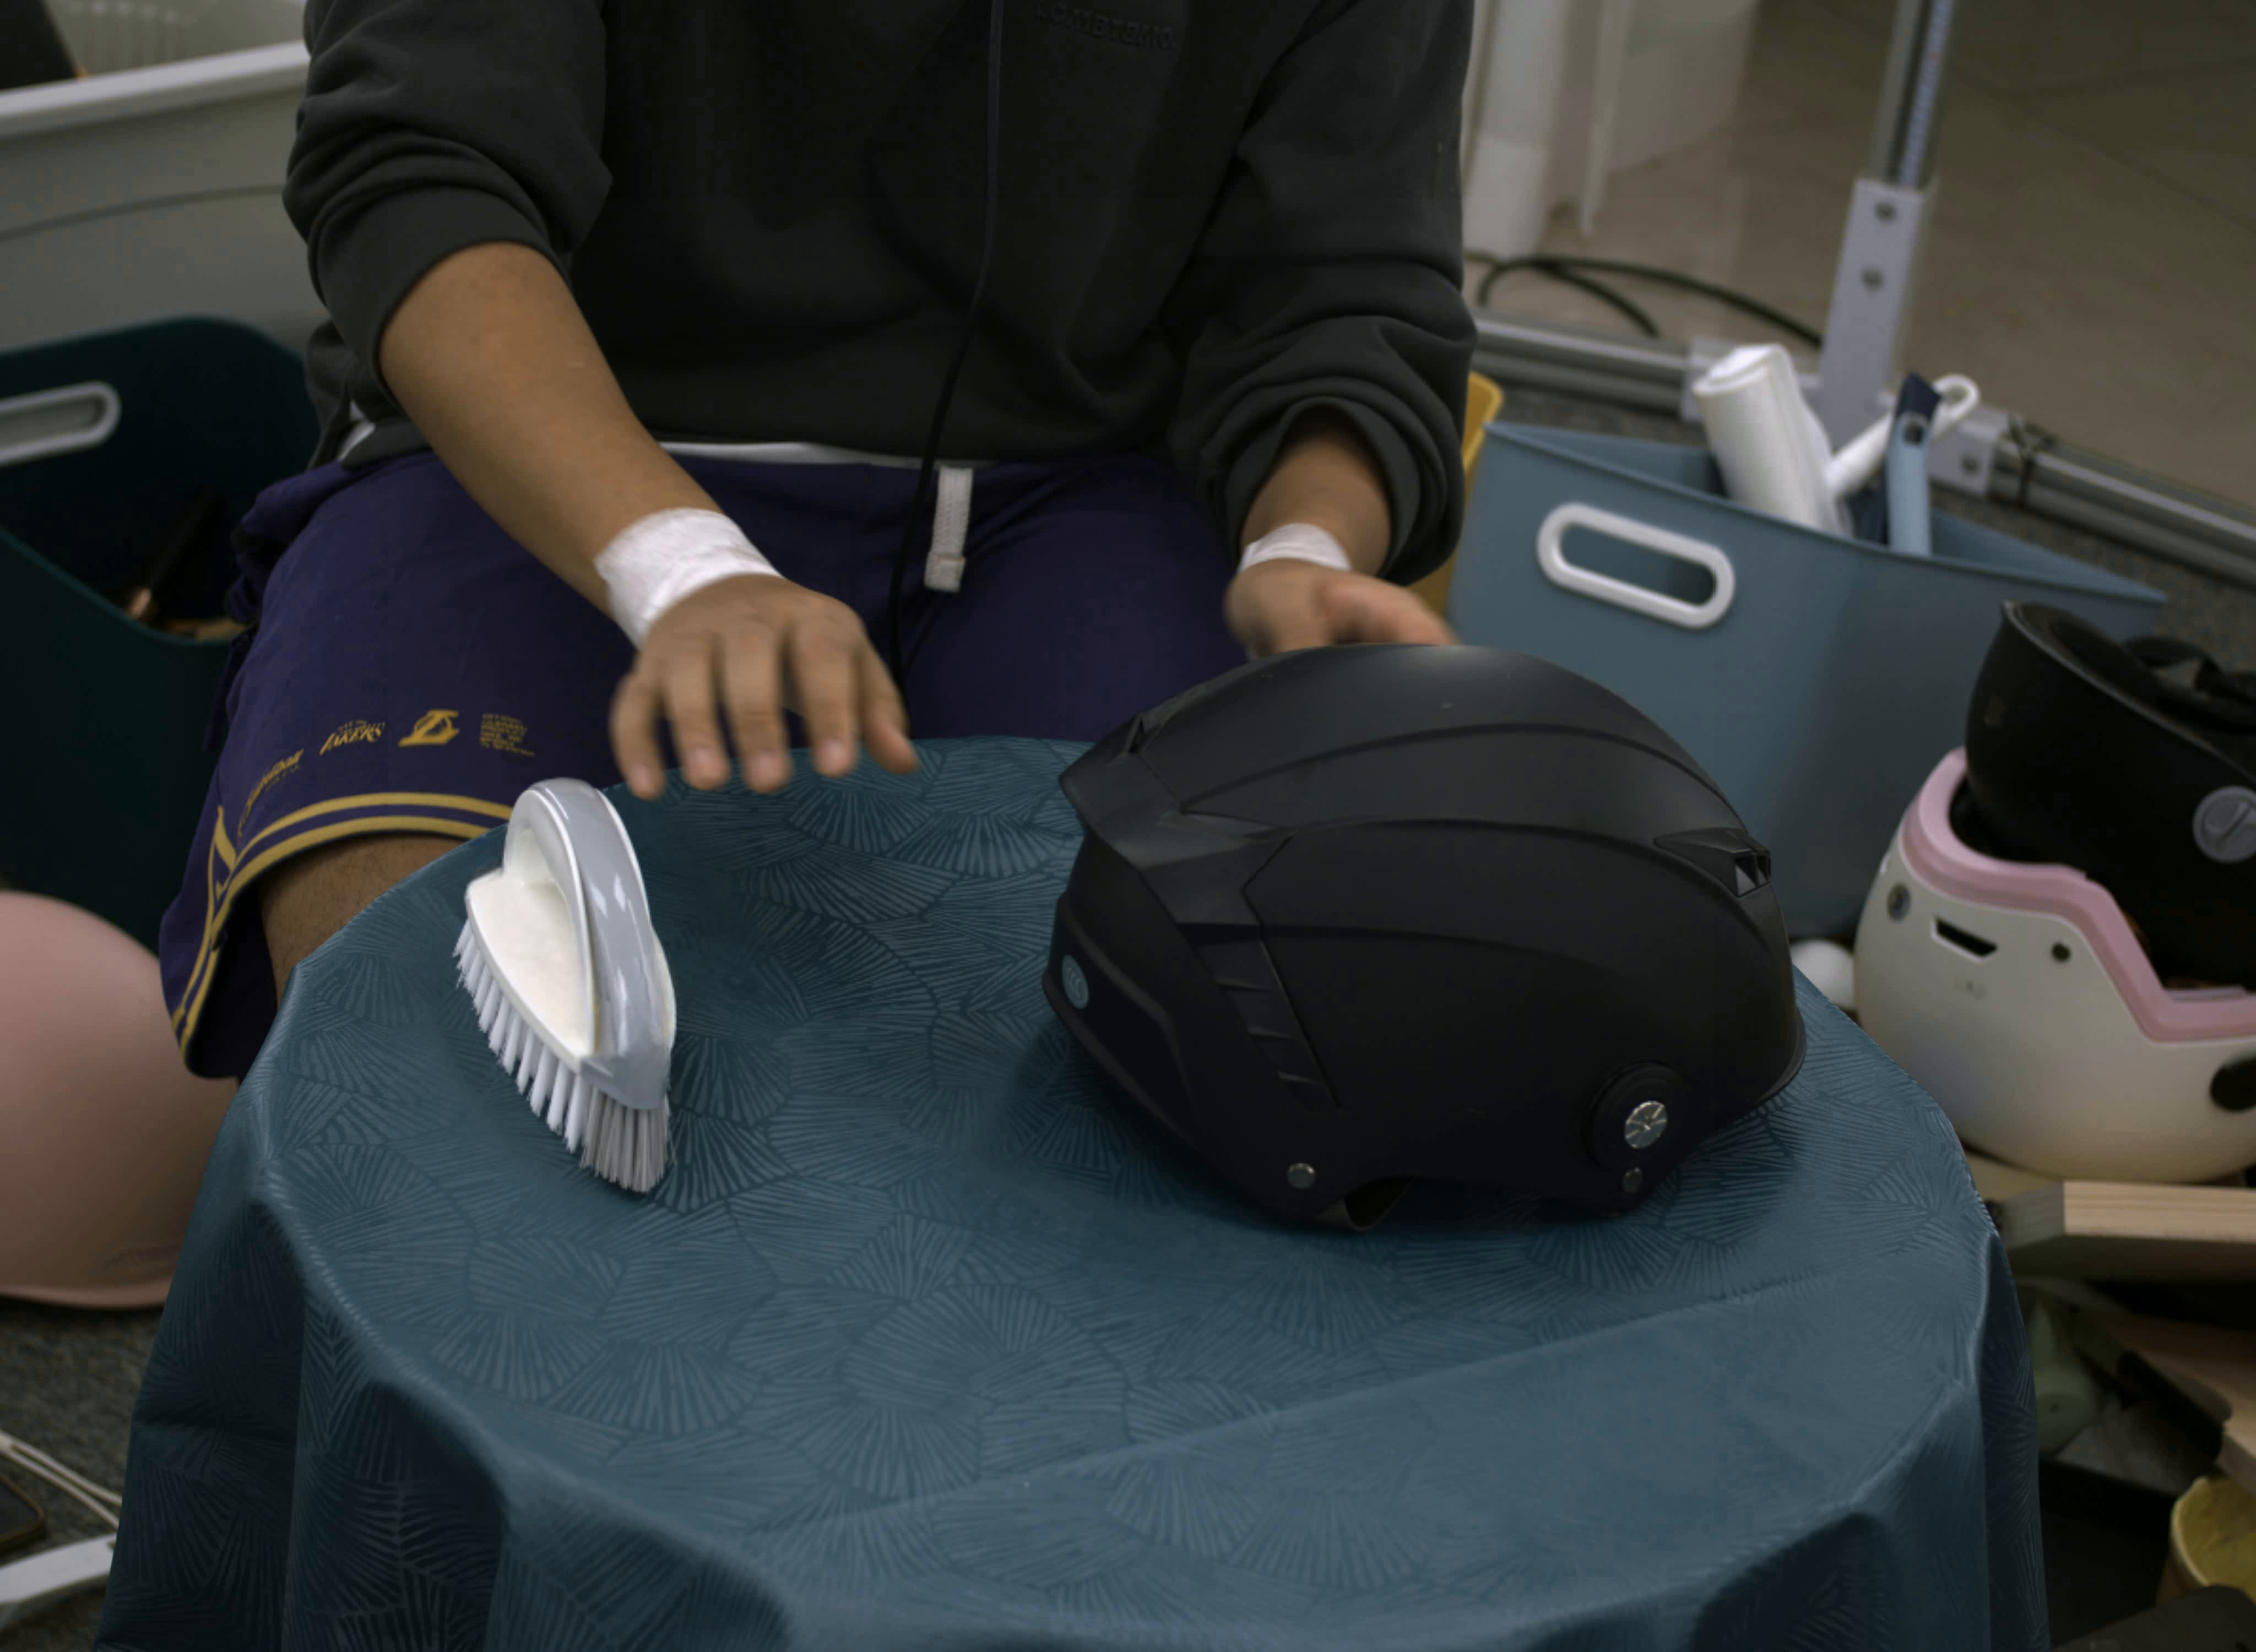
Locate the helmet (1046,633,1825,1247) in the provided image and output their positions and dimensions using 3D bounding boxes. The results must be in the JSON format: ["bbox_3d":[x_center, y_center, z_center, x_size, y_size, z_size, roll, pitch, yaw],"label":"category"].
[{"bbox_3d":[0.107,0.021,1.852,0.275,0.172,0.249,-8,31,-19],"label":"helmet"}]

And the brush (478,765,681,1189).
[{"bbox_3d":[-0.181,0.043,1.819,0.061,0.094,0.177,-4,30,-17],"label":"brush"}]
